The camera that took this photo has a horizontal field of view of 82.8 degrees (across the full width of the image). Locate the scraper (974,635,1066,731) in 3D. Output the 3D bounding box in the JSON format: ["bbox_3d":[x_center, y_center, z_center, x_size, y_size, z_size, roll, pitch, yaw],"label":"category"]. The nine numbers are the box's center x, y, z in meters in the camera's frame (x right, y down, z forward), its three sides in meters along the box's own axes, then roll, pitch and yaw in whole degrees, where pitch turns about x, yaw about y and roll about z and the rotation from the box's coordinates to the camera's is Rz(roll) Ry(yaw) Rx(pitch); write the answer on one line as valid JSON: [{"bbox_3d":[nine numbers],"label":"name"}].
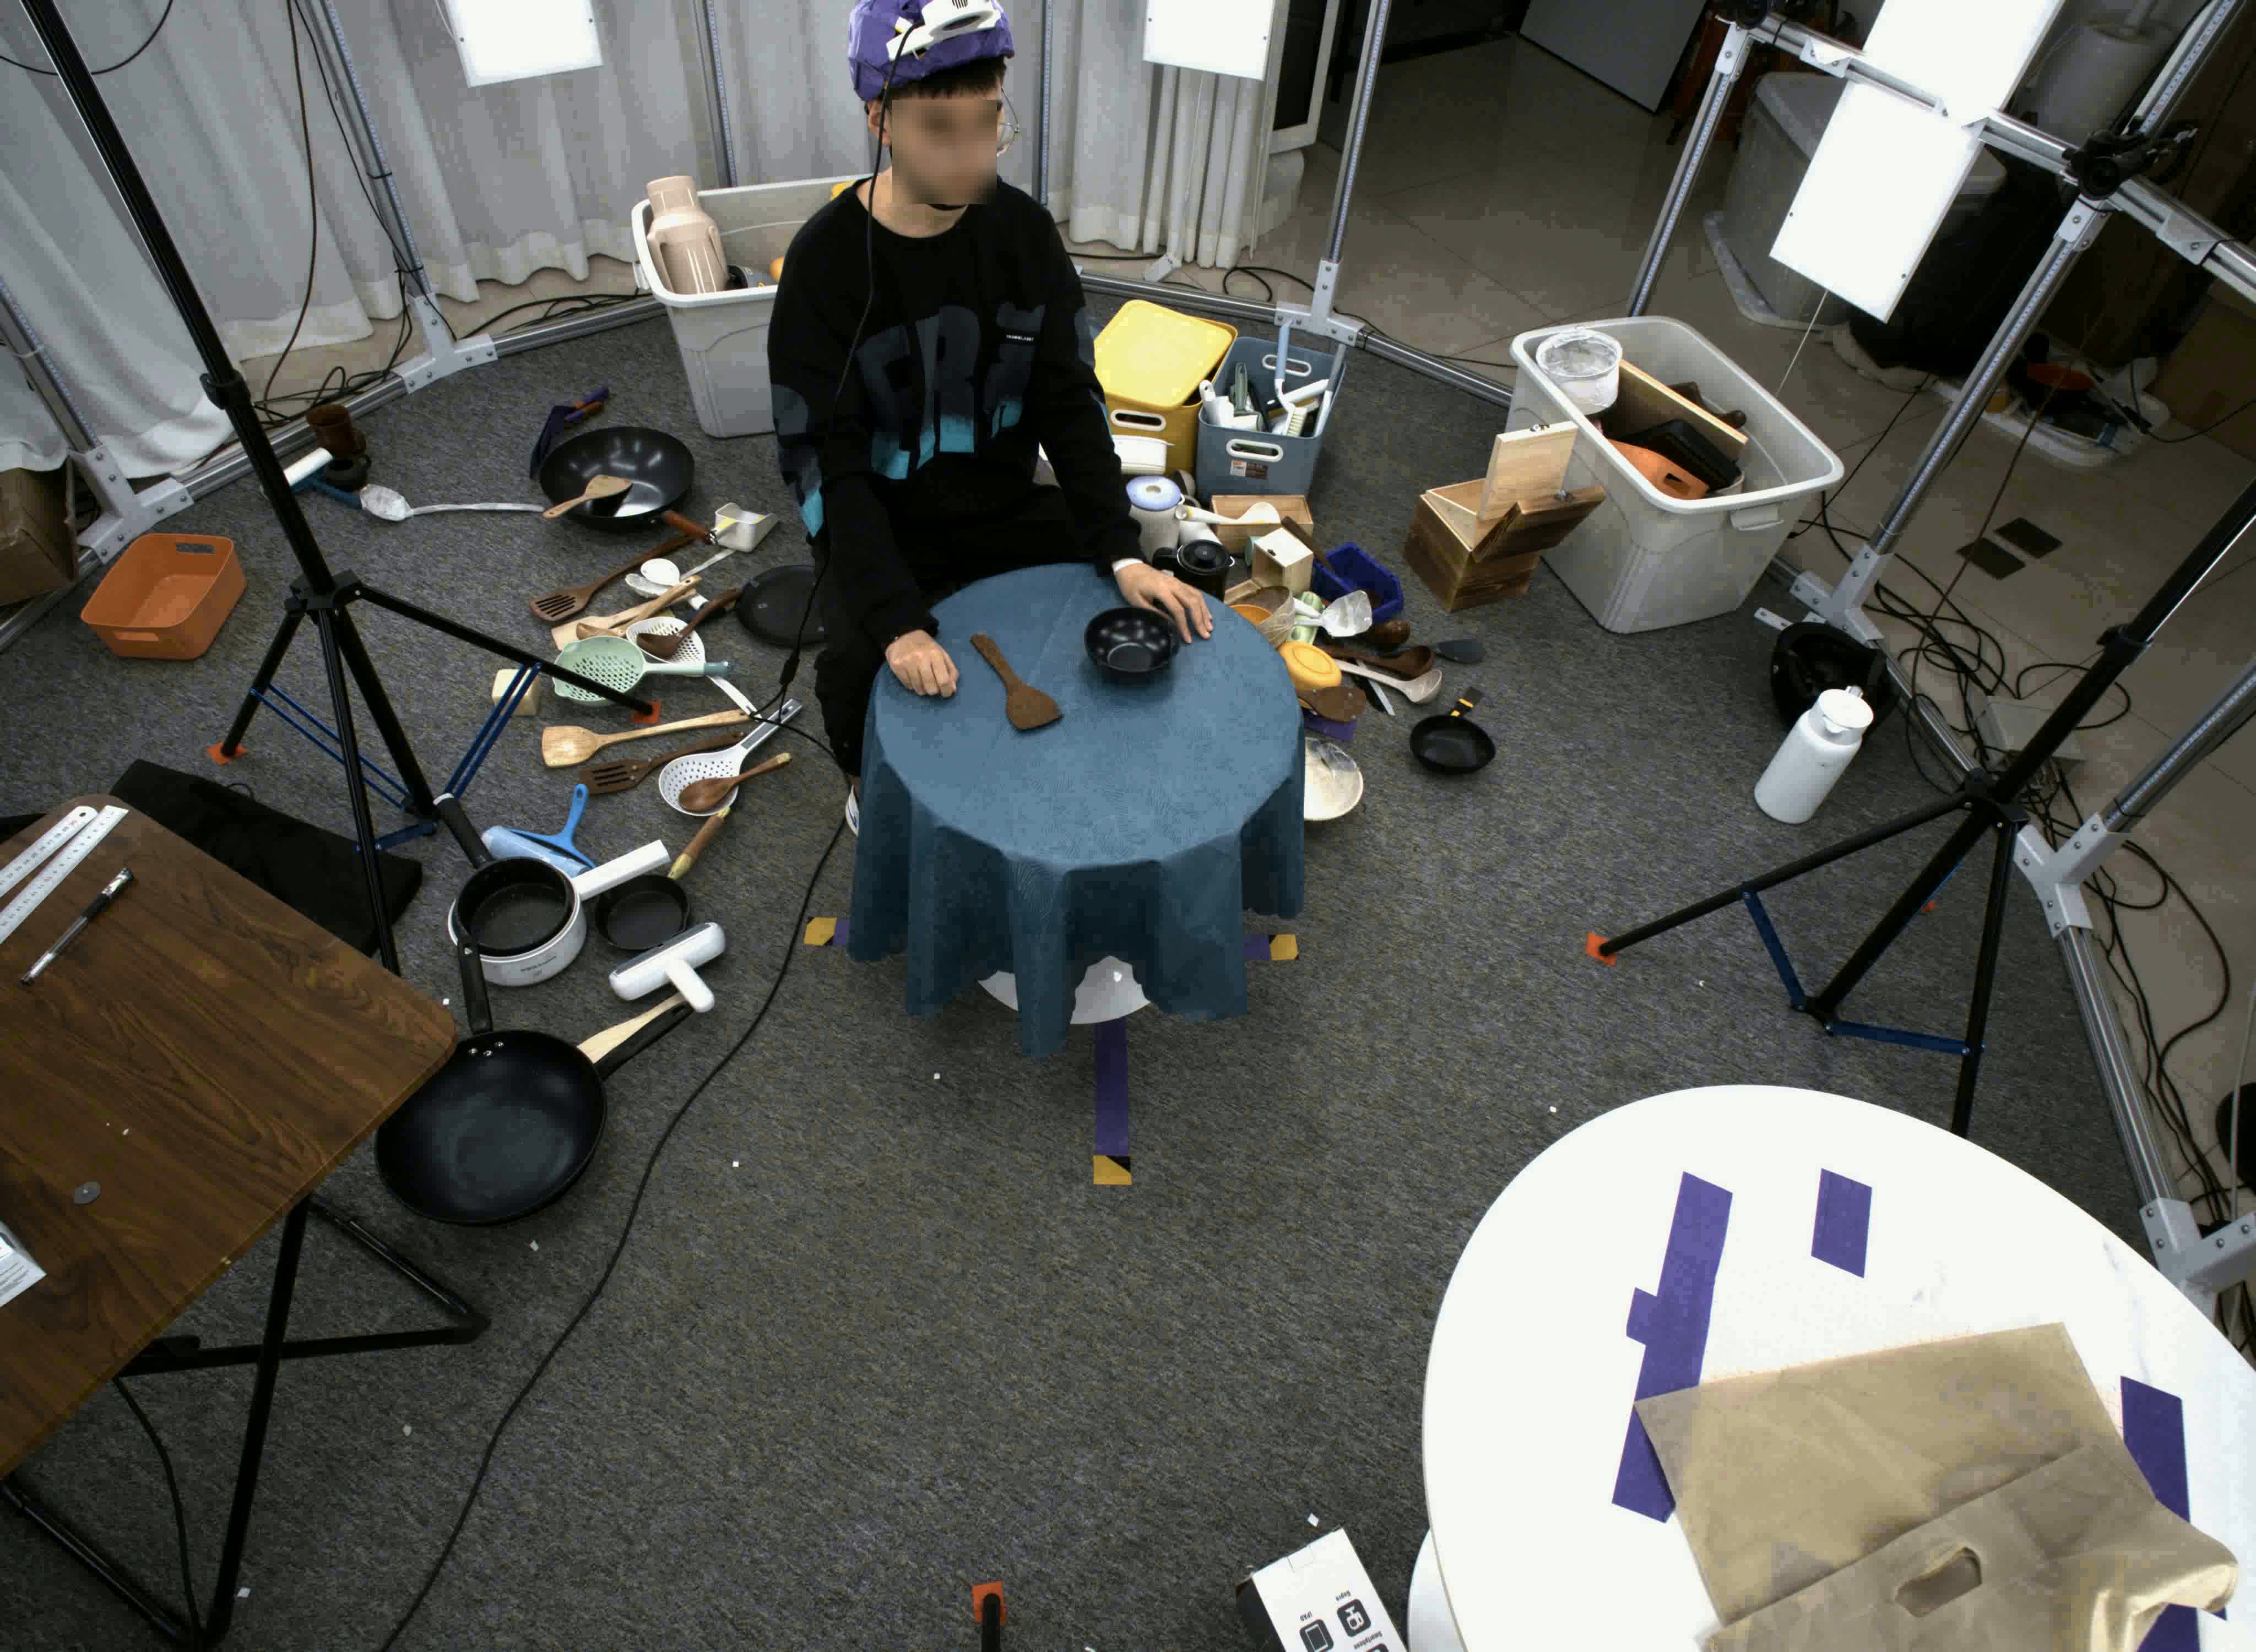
[{"bbox_3d":[-0.166,-0.210,1.851,0.076,0.010,0.216,-20,52,-22],"label":"scraper"}]

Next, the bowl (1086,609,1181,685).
[{"bbox_3d":[0.008,-0.253,1.875,0.140,0.048,0.143,0,49,0],"label":"bowl"}]
